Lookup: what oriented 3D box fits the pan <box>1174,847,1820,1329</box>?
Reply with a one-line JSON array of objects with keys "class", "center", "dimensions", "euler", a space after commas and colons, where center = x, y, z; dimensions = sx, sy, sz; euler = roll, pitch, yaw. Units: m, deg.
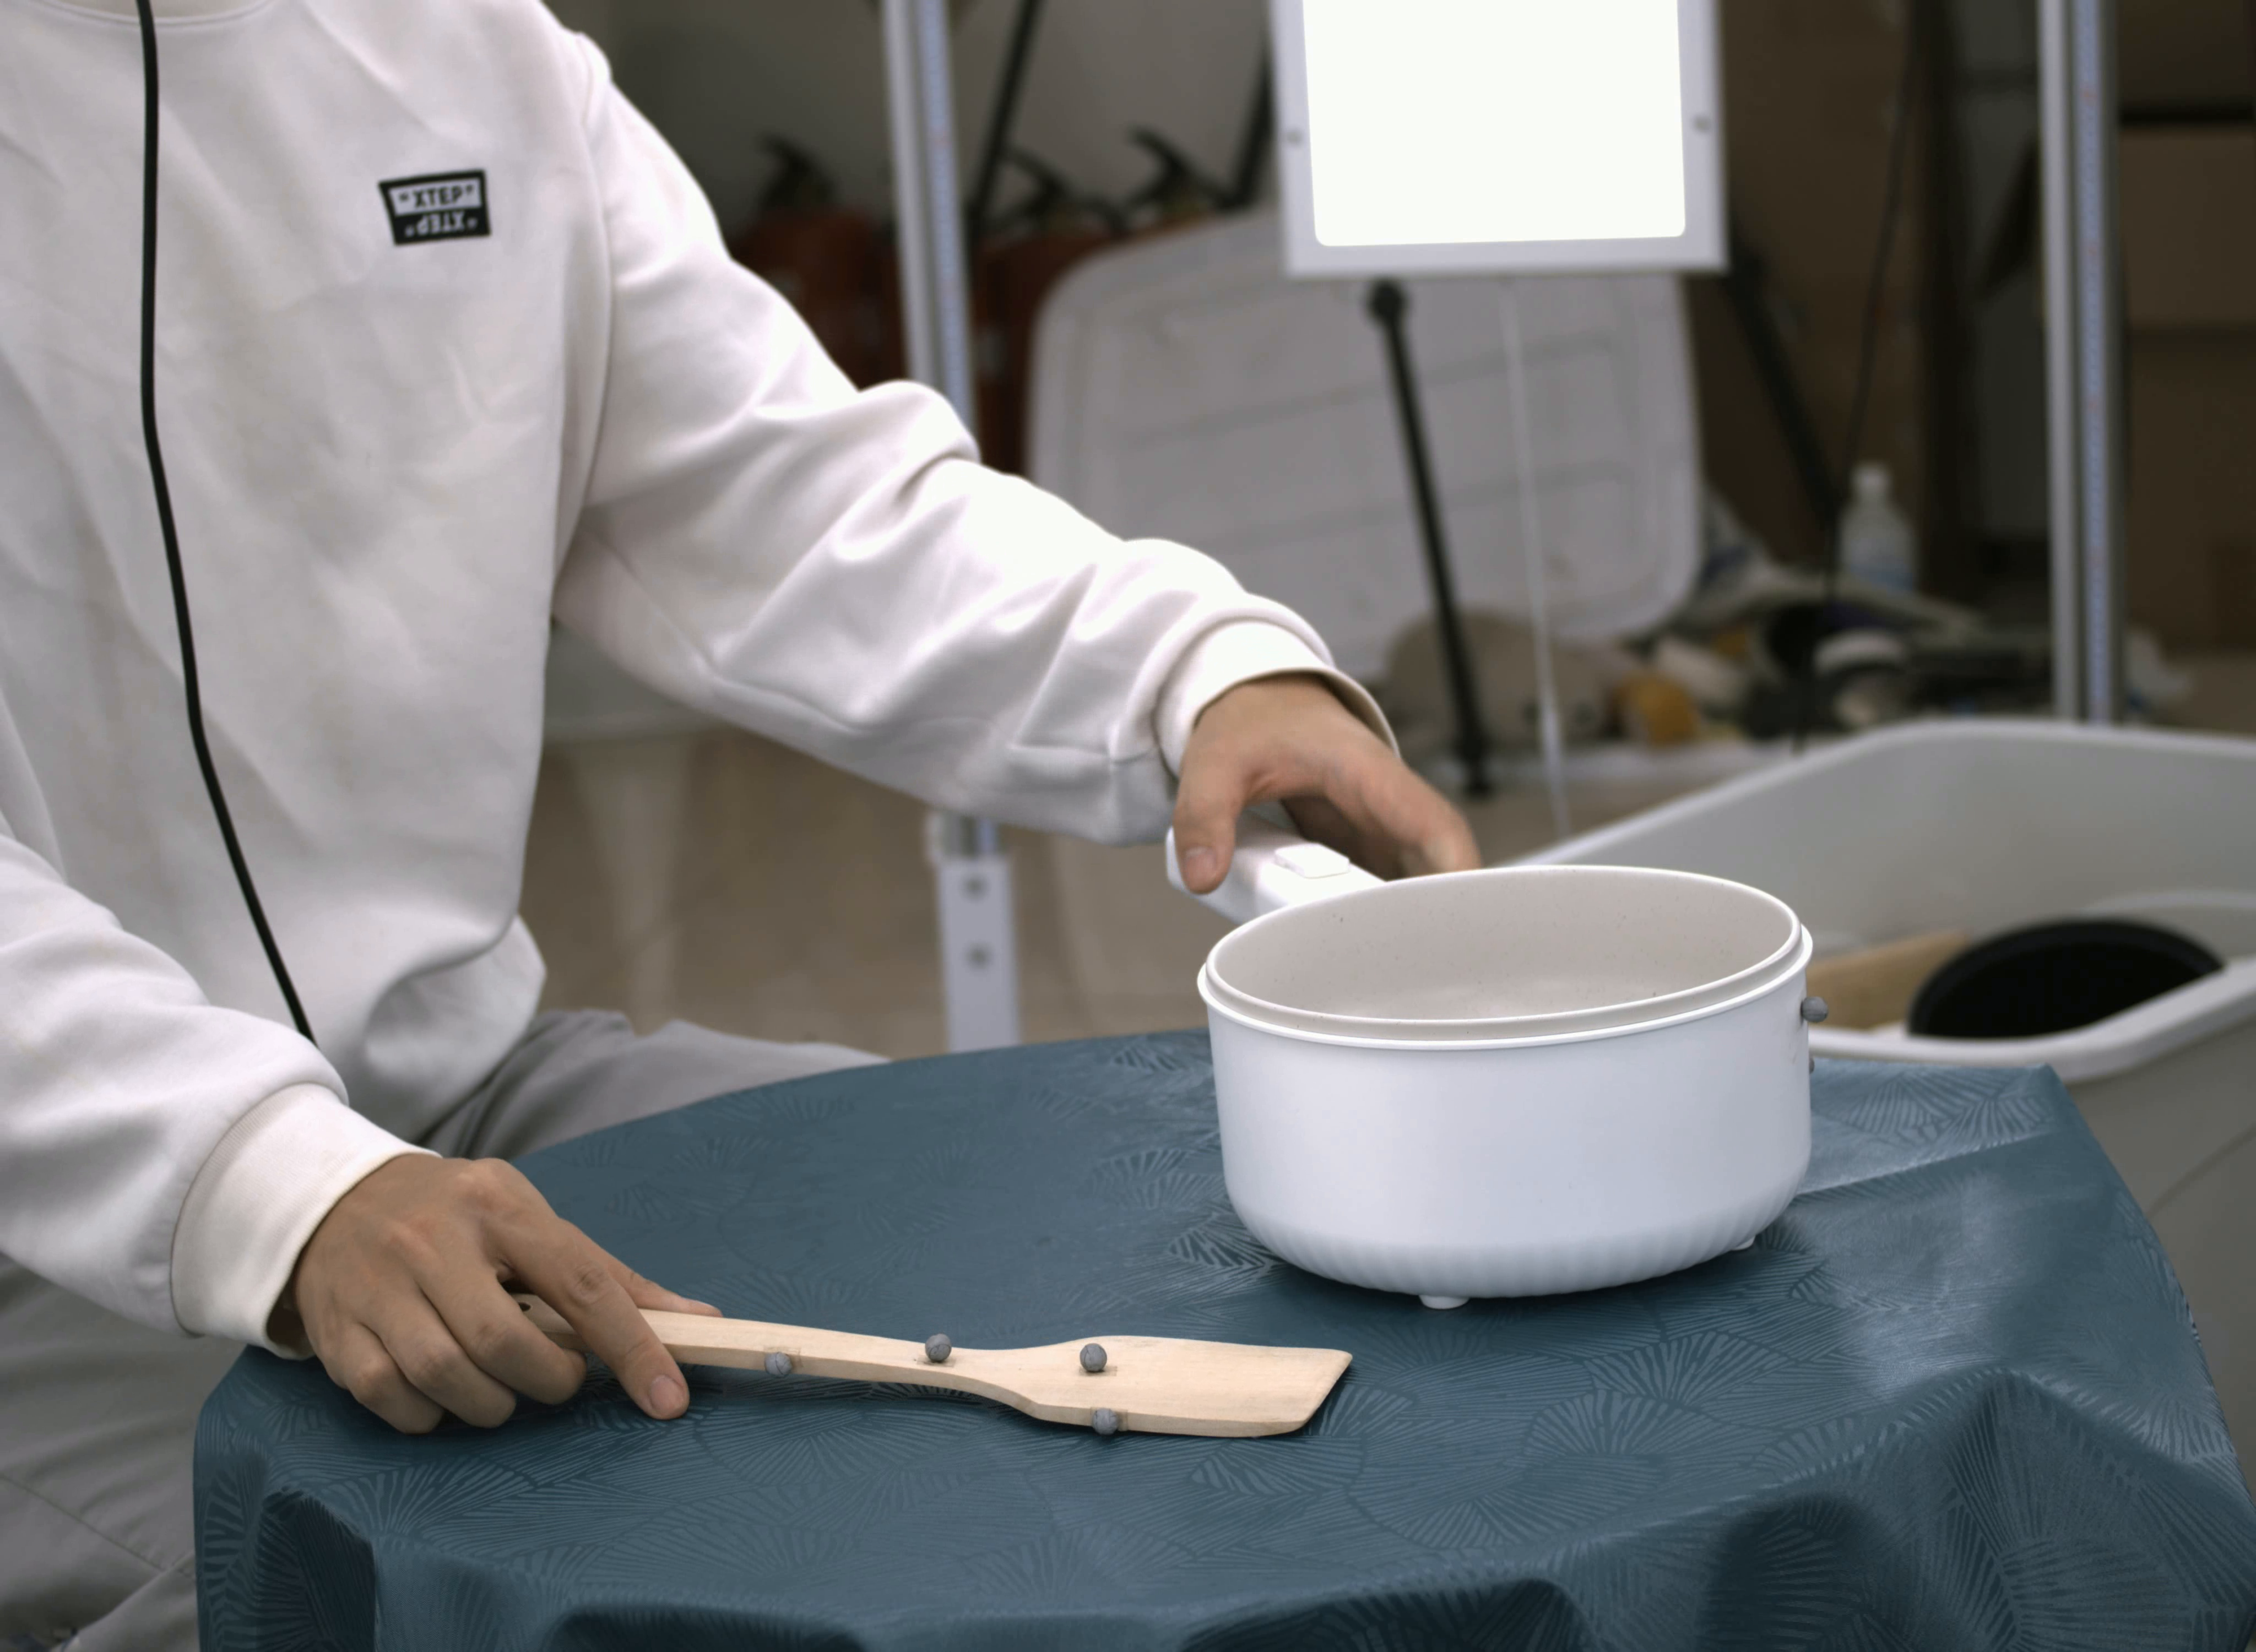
[{"class": "pan", "center": [0.101, 0.081, 1.877], "dimensions": [0.198, 0.102, 0.359], "euler": [-14, 12, -18]}]
